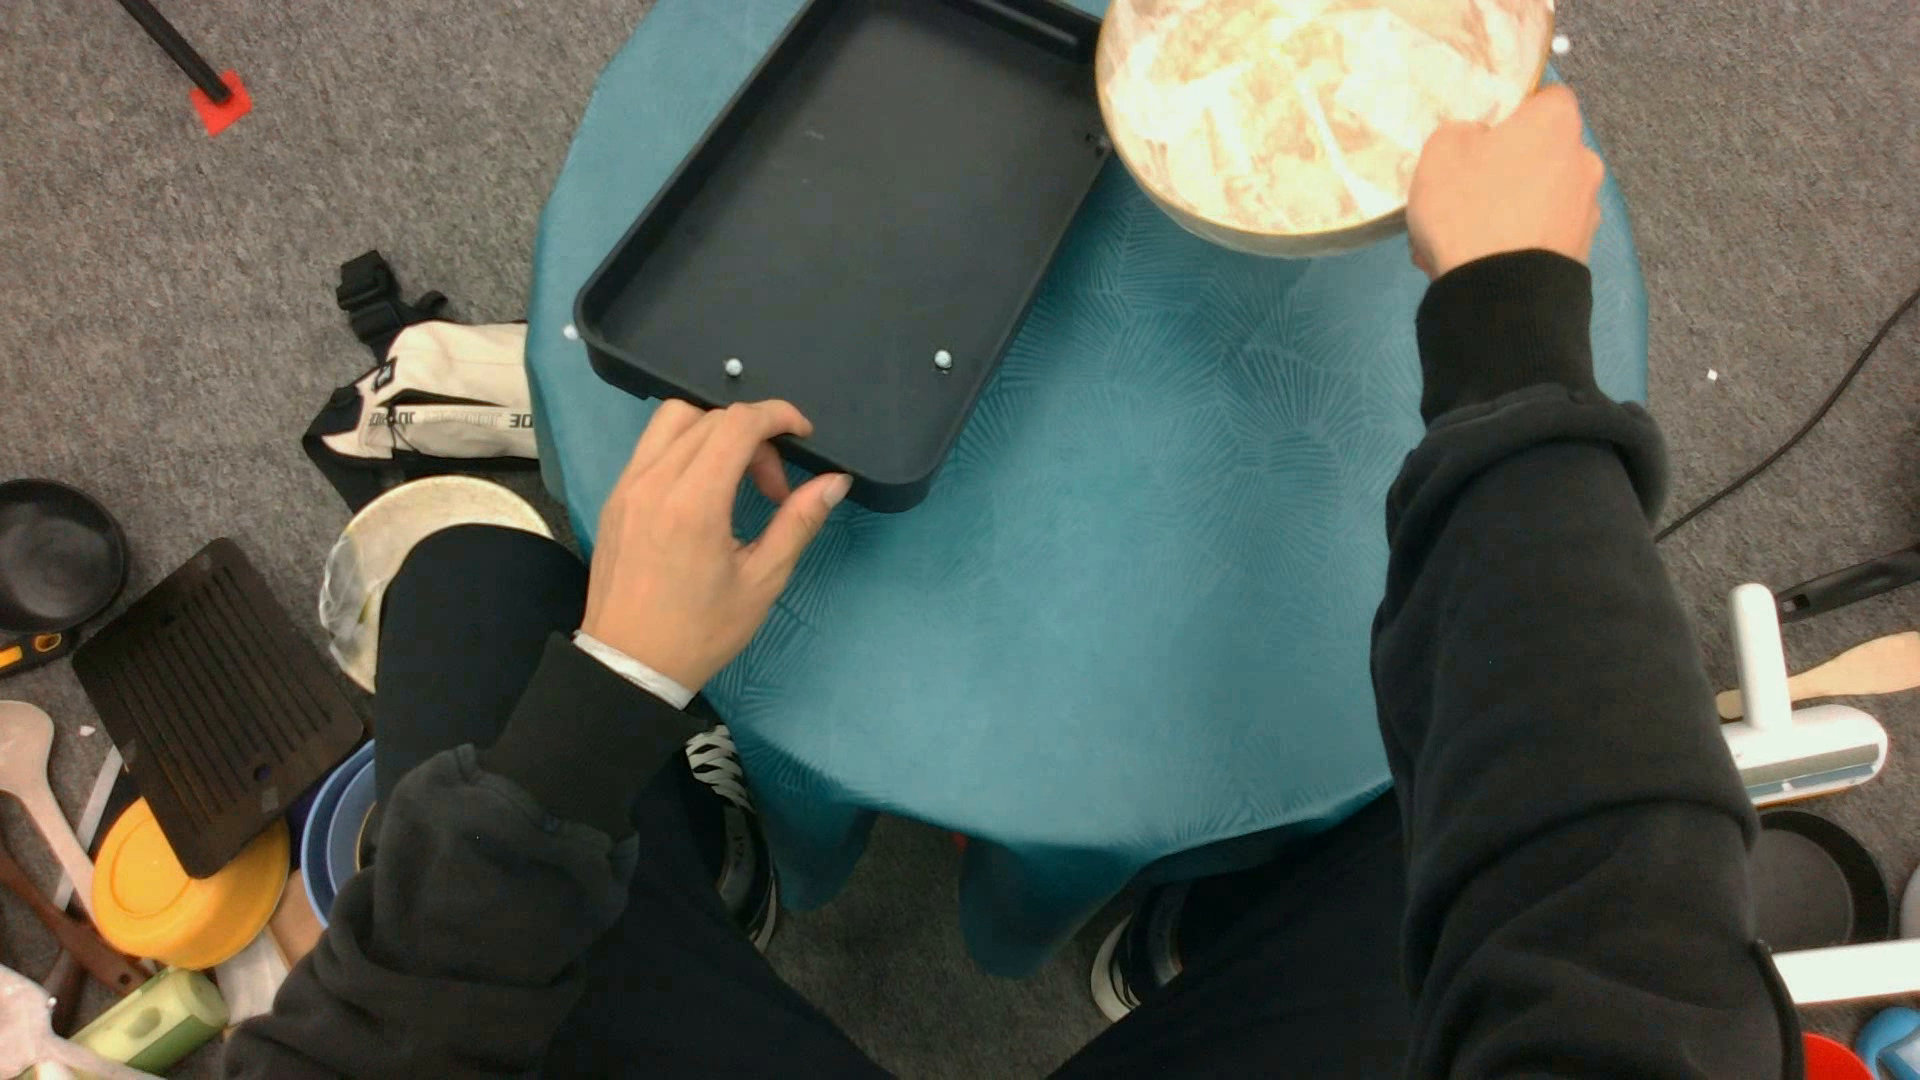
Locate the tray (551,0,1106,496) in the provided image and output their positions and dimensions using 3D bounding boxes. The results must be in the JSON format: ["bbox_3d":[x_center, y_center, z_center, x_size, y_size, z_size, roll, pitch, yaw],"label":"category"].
[{"bbox_3d":[-0.045,-0.179,0.698,0.184,0.037,0.319,26,60,6],"label":"tray"}]

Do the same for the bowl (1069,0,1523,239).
[{"bbox_3d":[0.157,-0.229,0.665,0.214,0.094,0.215,-3,77,16],"label":"bowl"}]
